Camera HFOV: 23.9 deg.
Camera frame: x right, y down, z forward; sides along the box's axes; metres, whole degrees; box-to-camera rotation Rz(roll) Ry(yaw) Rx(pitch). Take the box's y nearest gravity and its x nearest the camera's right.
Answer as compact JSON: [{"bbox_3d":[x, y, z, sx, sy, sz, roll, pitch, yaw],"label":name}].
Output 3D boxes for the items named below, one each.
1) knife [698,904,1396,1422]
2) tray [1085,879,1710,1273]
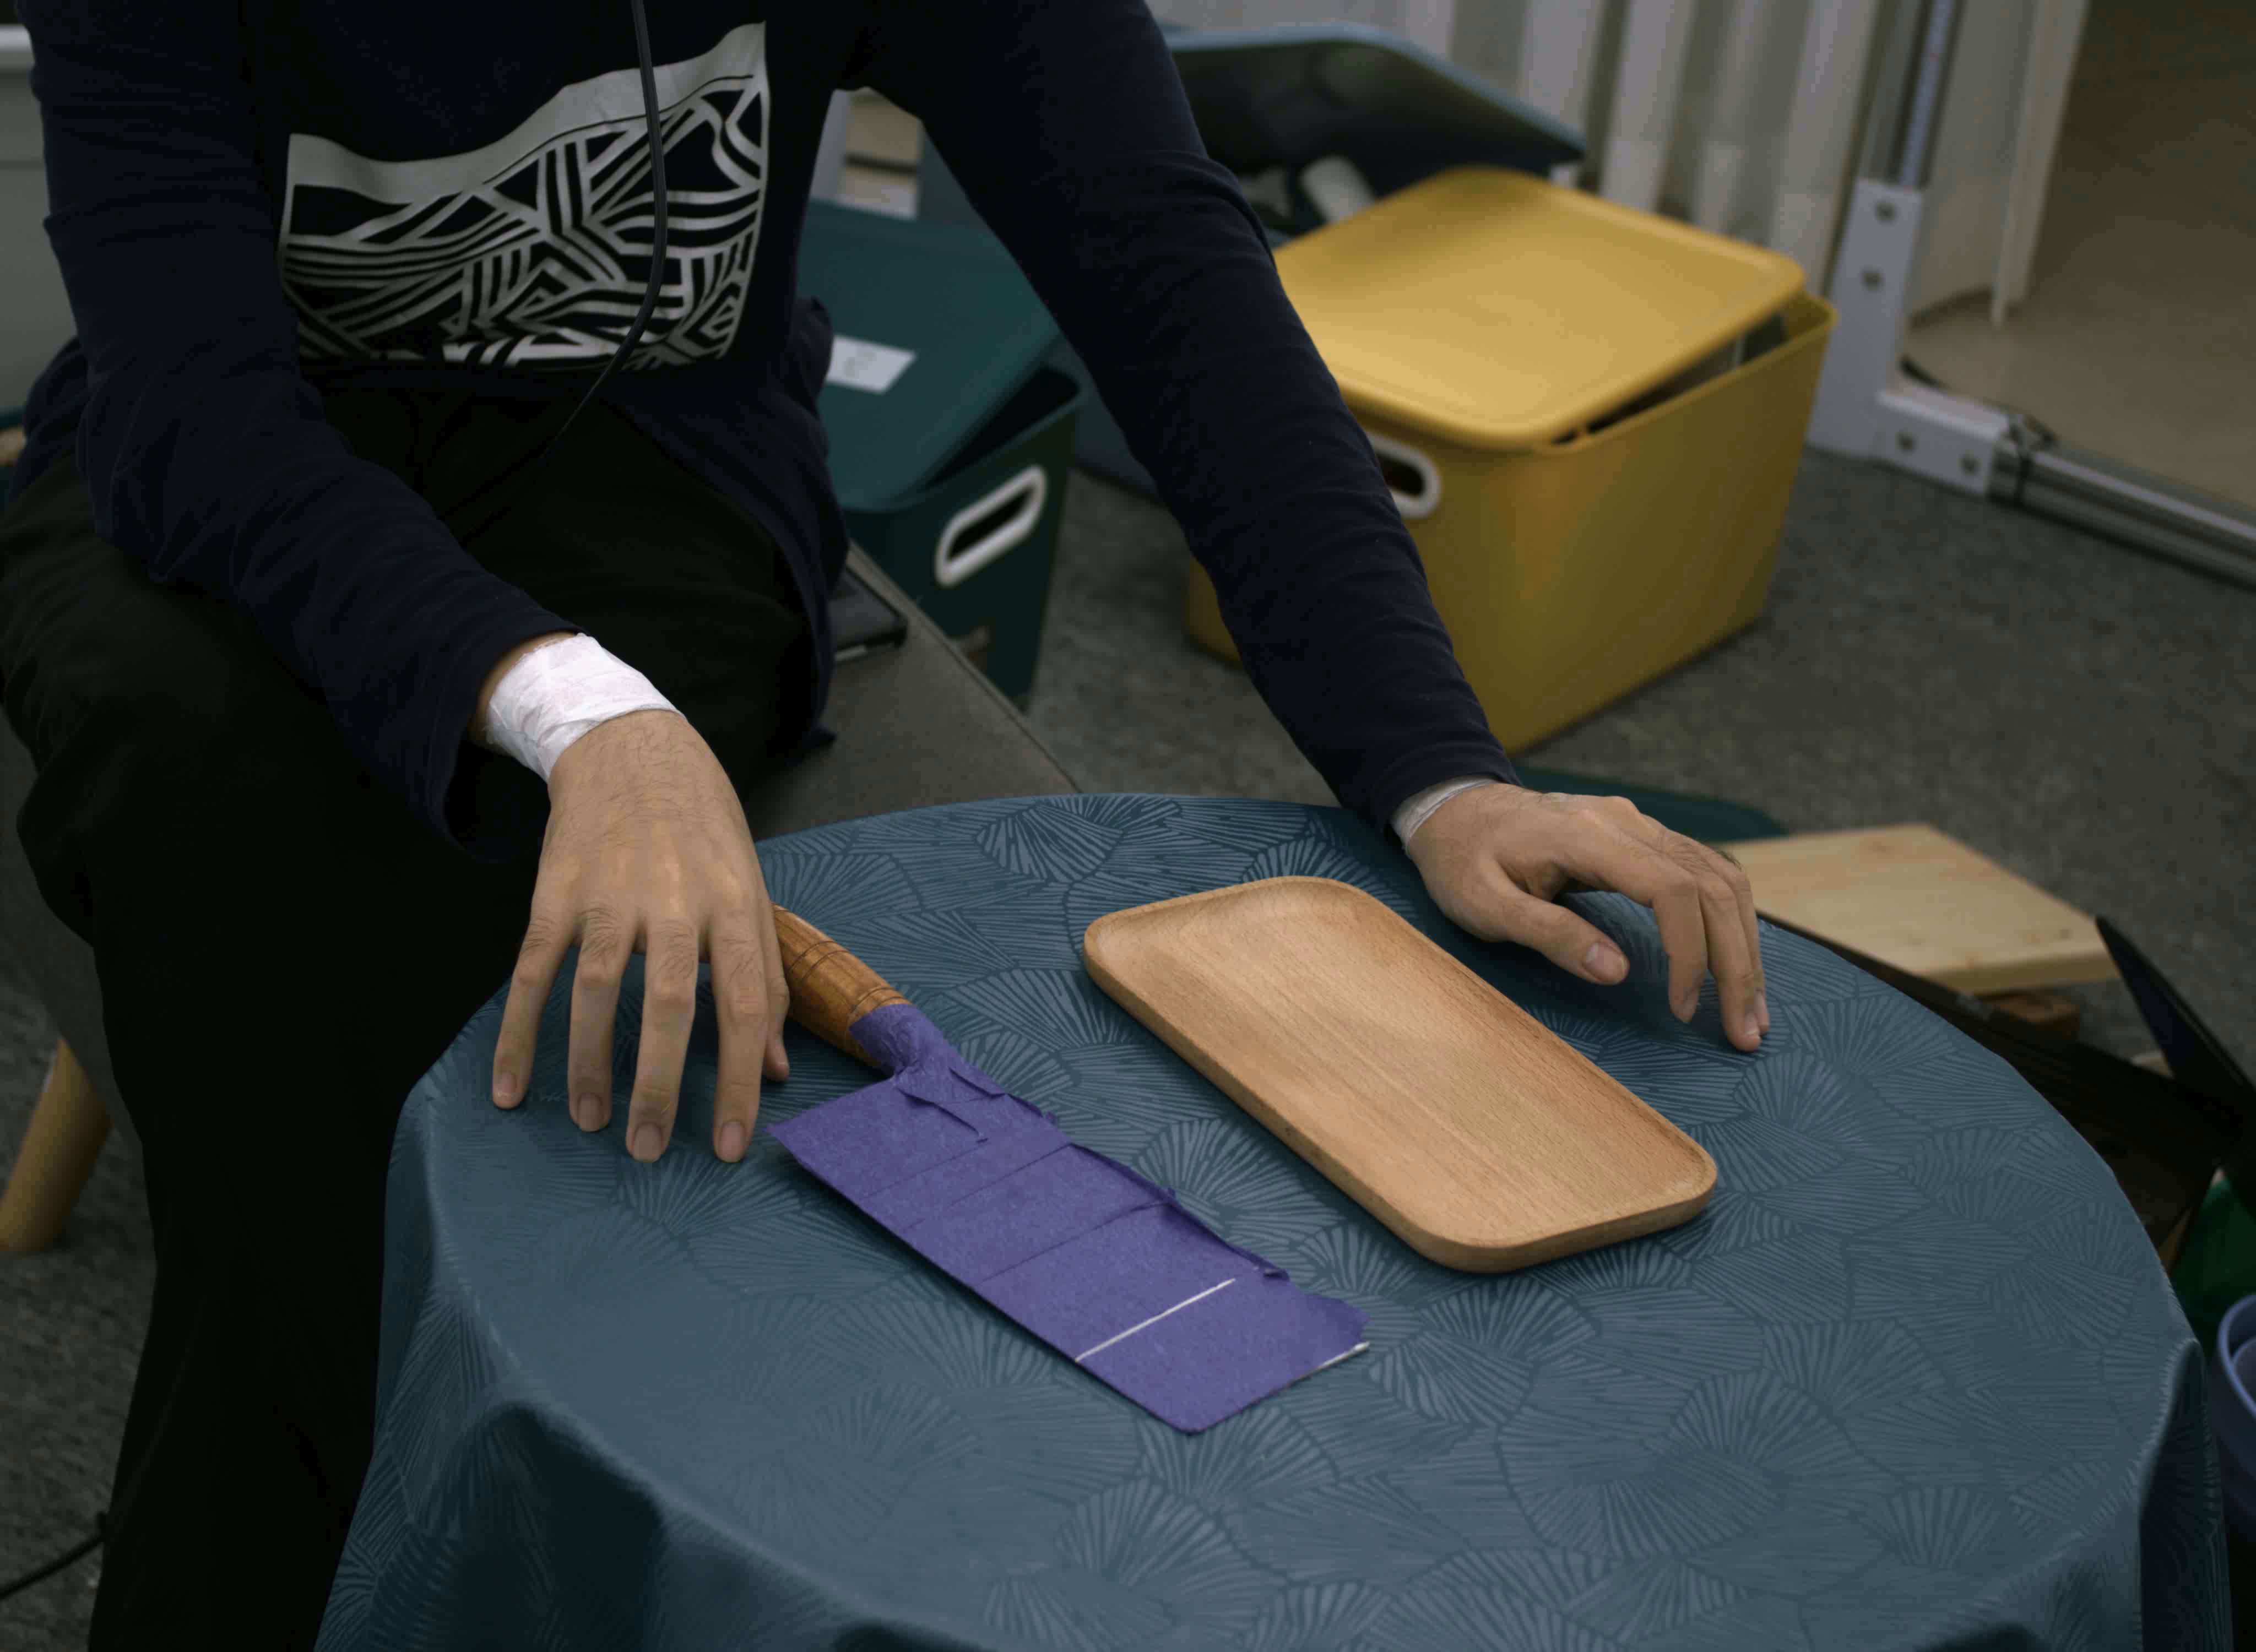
[{"bbox_3d":[-0.055,0.110,1.792,0.103,0.032,0.317,-19,37,-42],"label":"knife"},{"bbox_3d":[0.092,0.086,1.883,0.130,0.023,0.253,-12,32,-28],"label":"tray"}]
